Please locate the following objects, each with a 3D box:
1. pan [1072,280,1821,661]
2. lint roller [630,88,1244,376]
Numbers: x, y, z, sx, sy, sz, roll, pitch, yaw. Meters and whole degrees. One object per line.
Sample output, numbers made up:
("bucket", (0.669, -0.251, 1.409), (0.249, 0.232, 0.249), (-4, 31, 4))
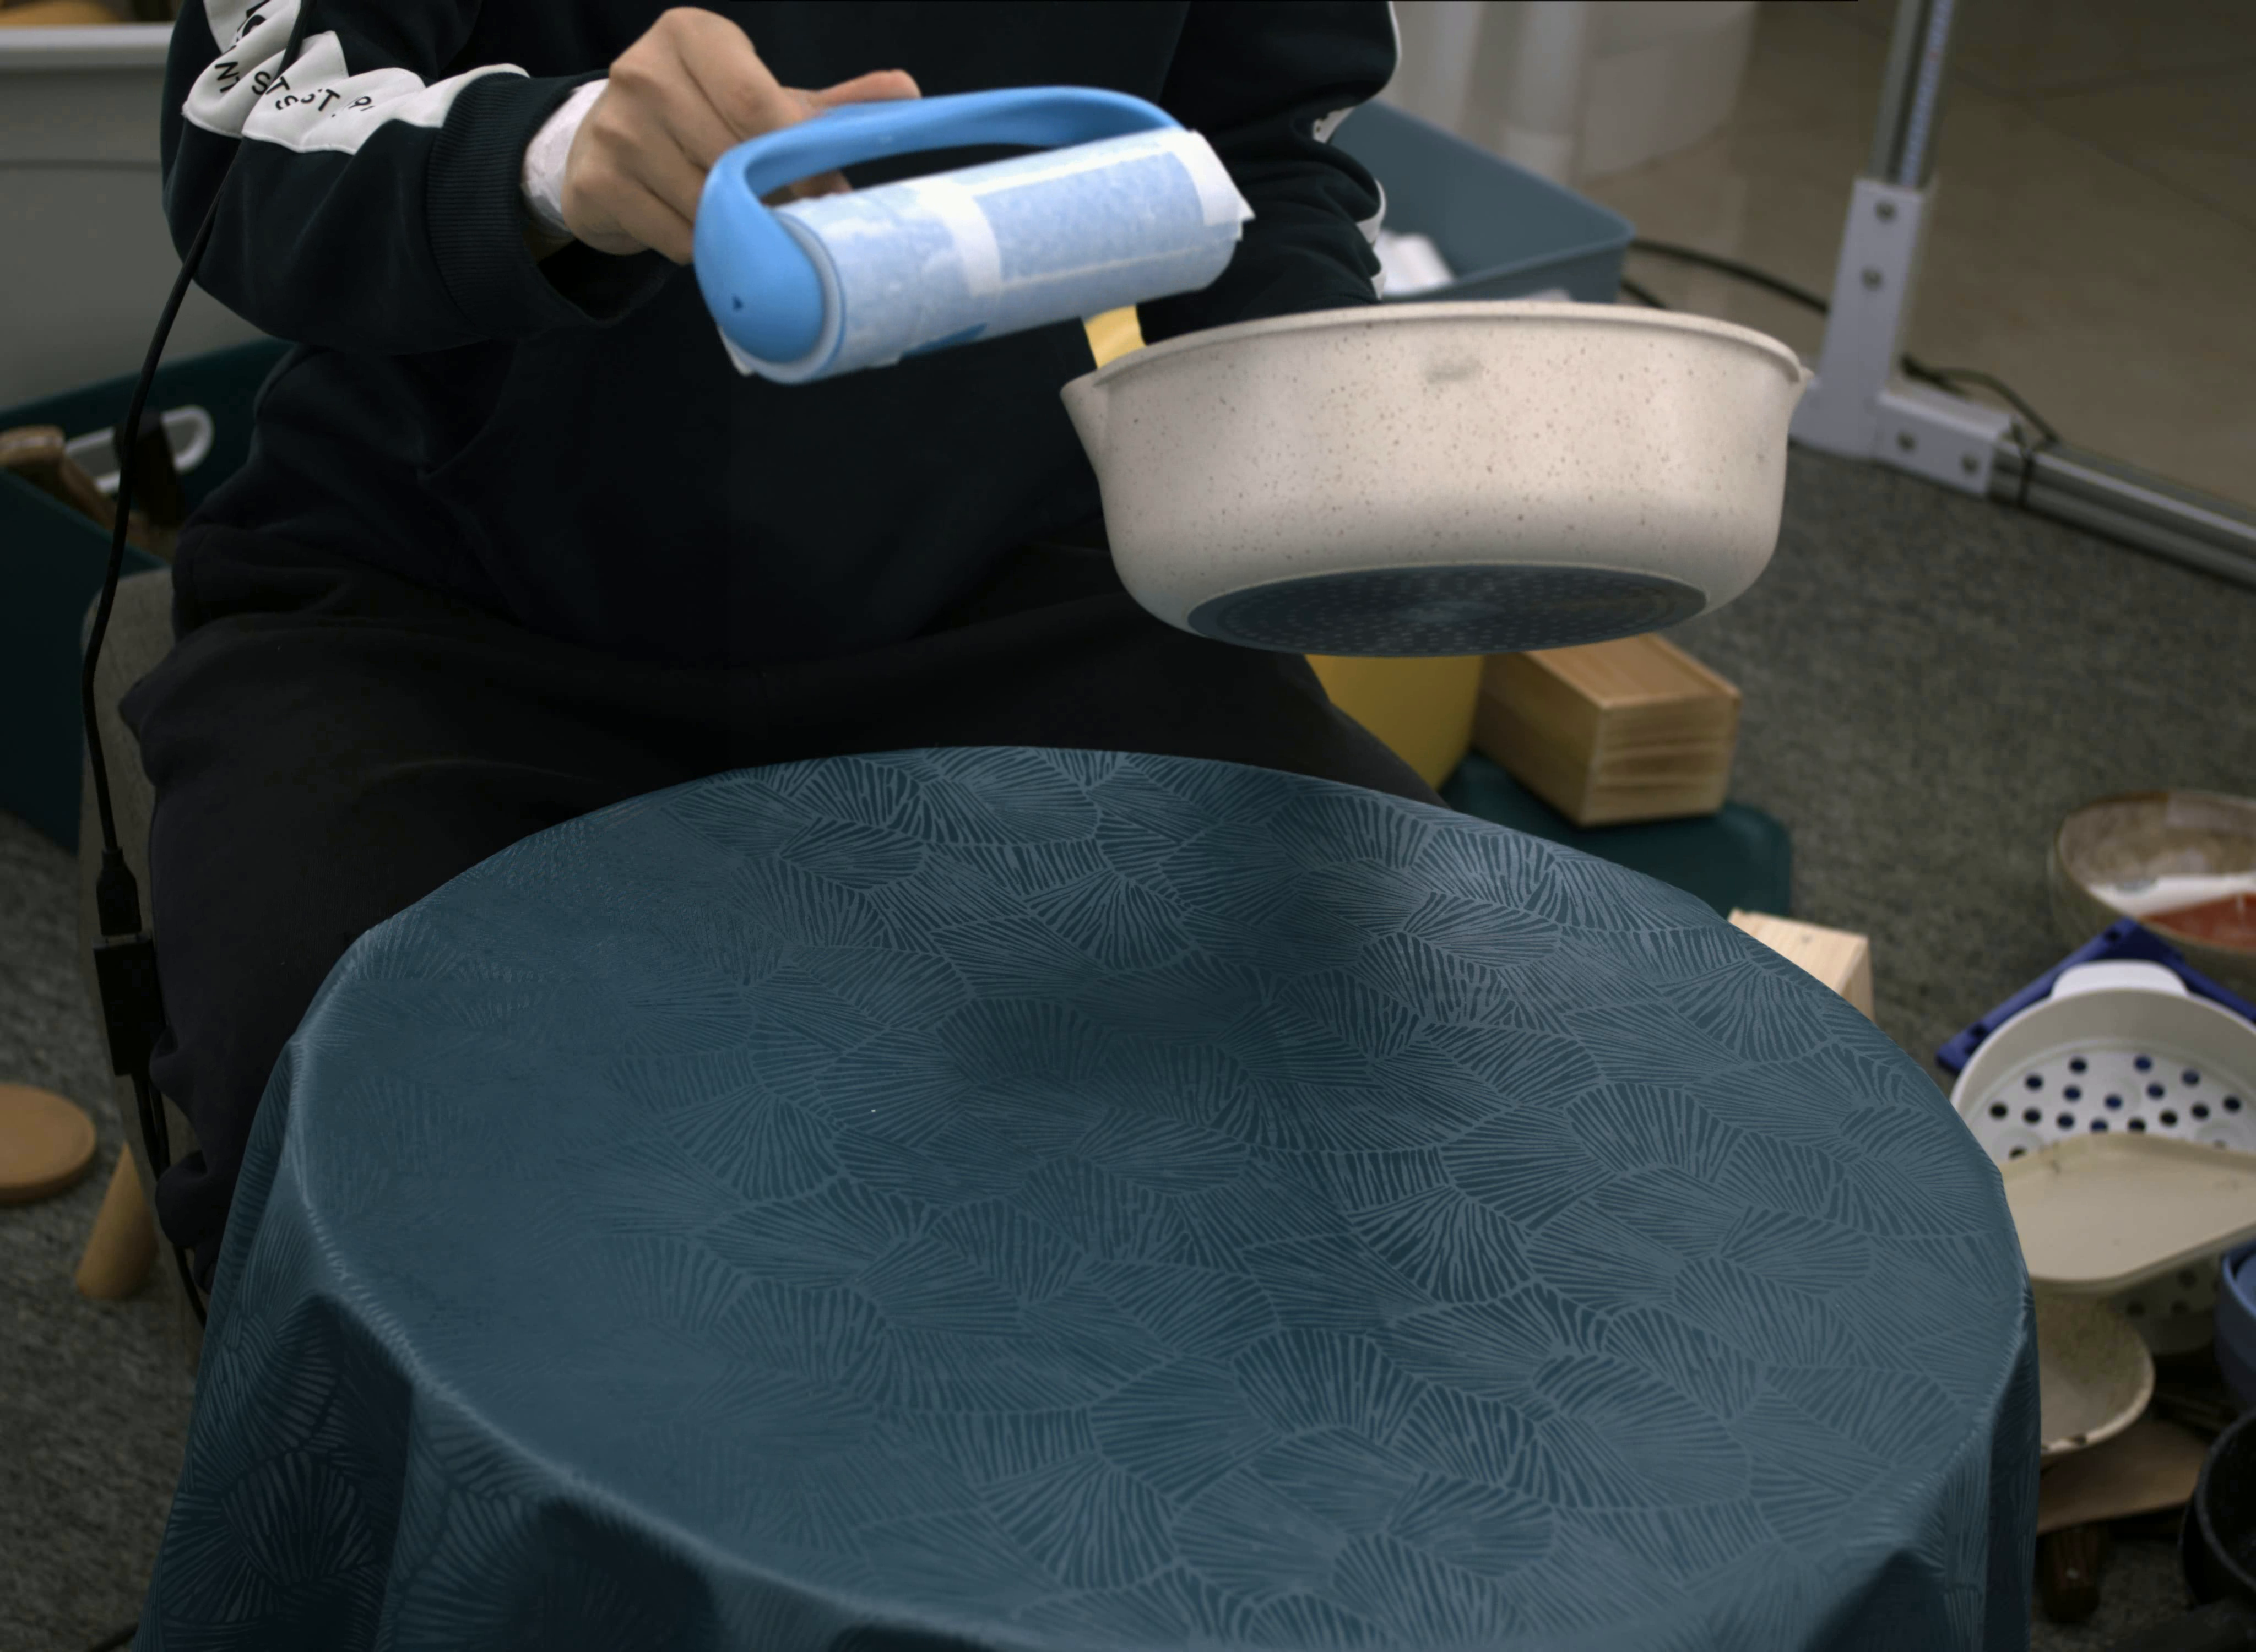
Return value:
("pan", (0.111, -0.110, 1.942), (0.262, 0.102, 0.434), (-3, -9, -1))
("lint roller", (-0.090, -0.198, 1.694), (0.181, 0.068, 0.228), (18, 25, 33))
